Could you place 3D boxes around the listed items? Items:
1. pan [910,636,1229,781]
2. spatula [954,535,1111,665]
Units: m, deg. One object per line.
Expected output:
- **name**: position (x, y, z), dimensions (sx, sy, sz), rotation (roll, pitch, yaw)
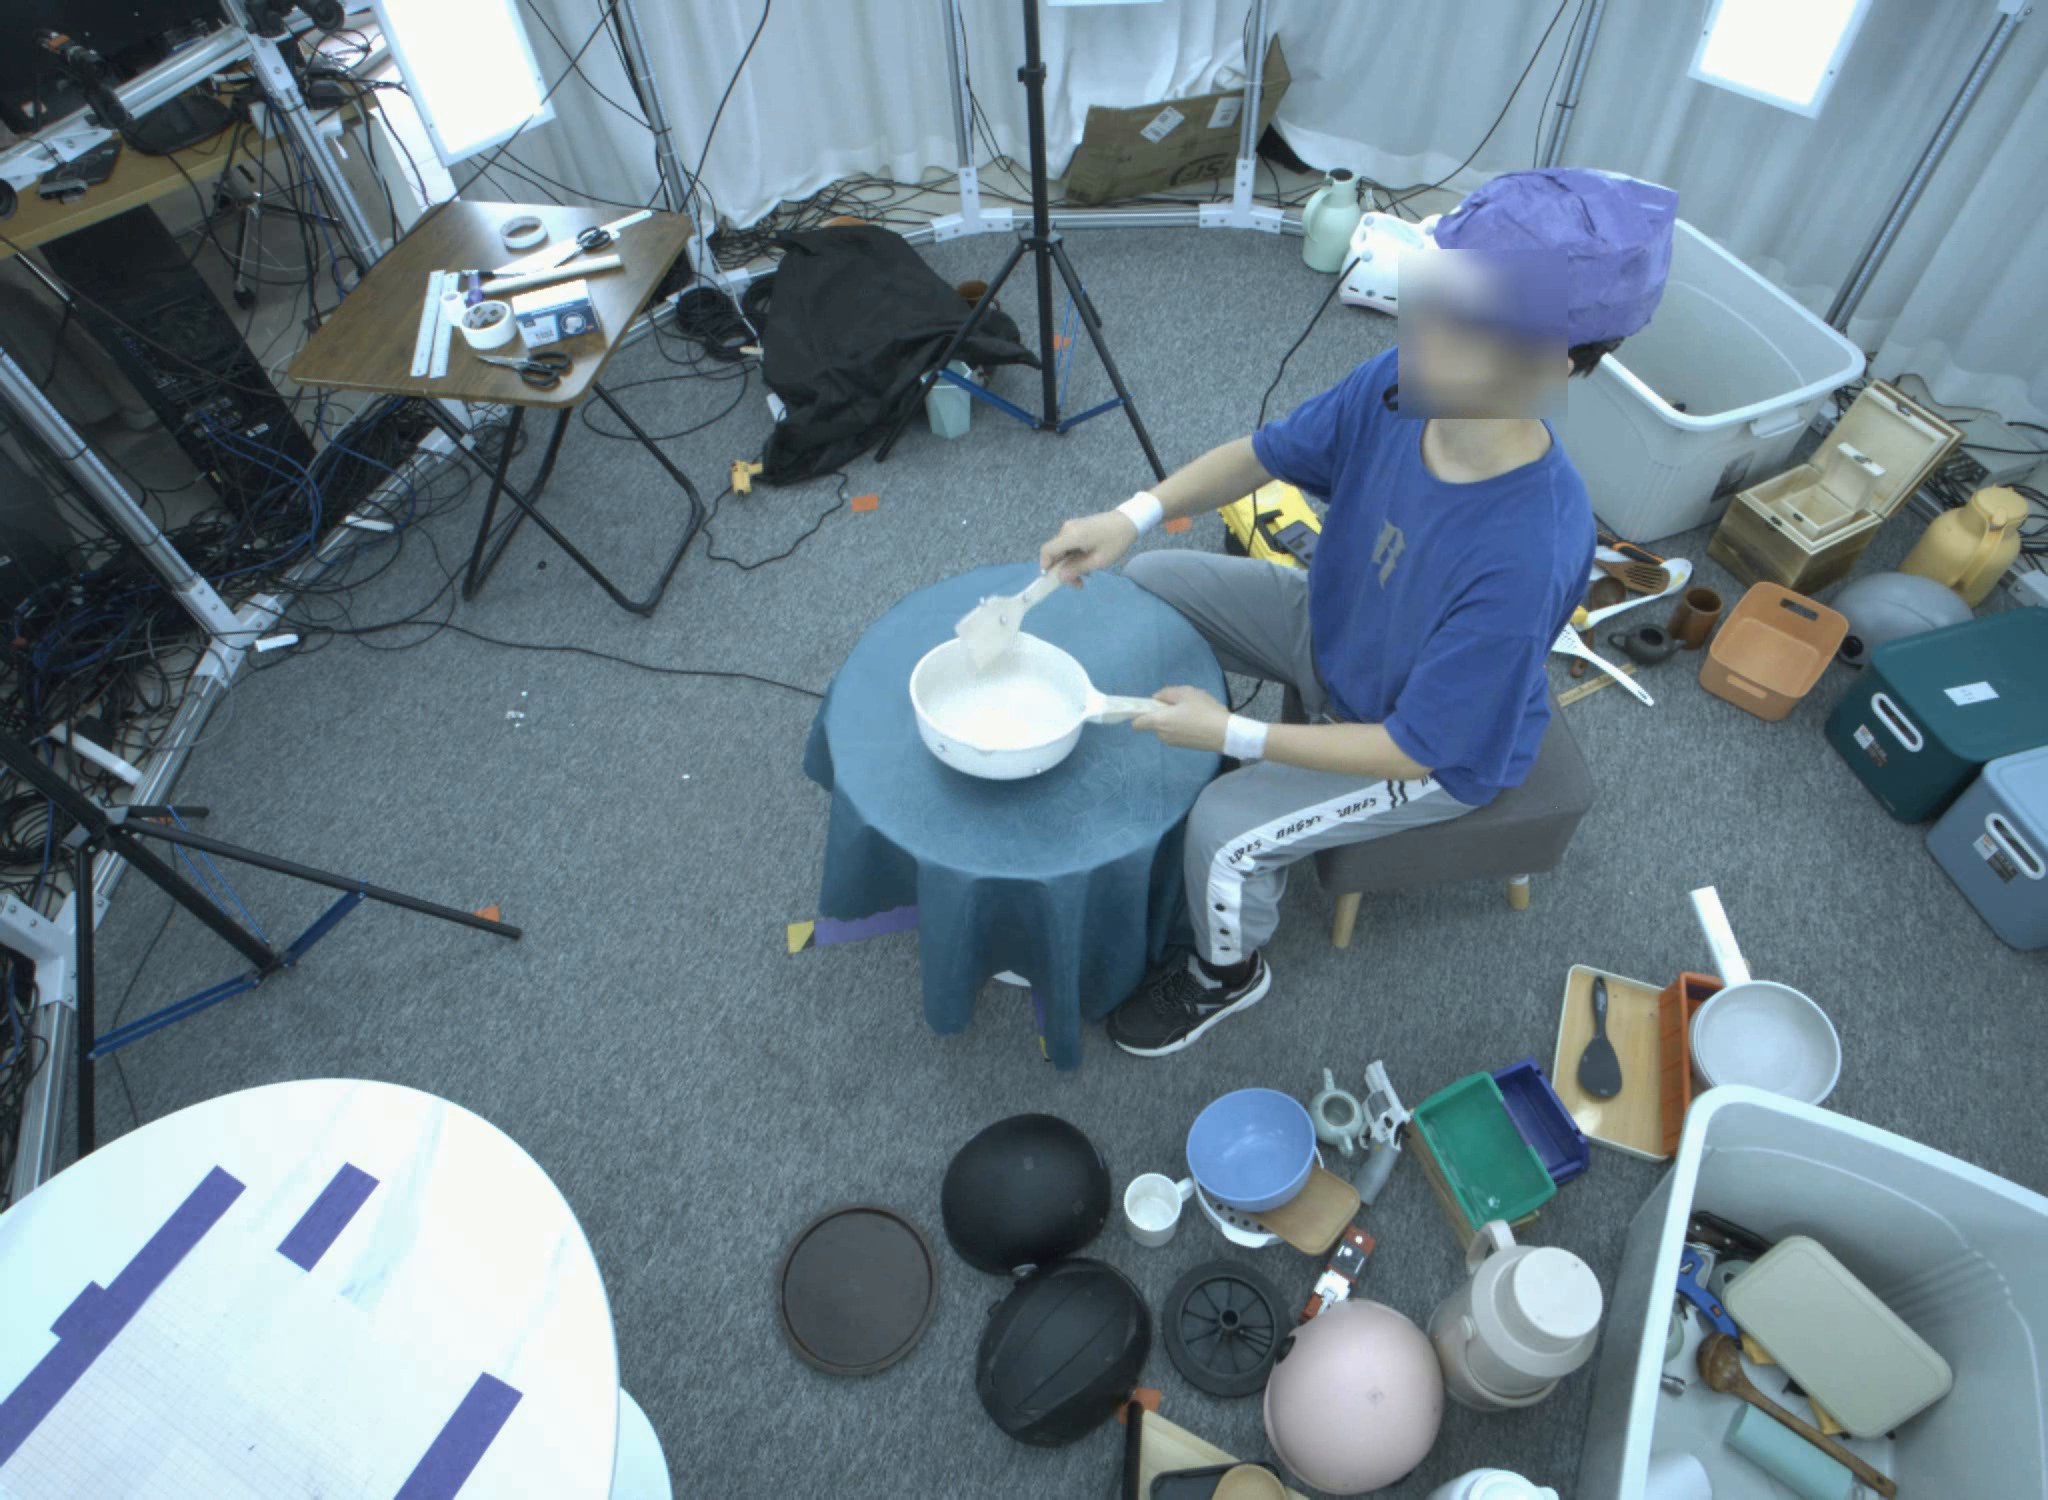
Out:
- **pan**: position (0.058, -0.045, 1.700), dimensions (0.435, 0.103, 0.261), rotation (9, 40, 1)
- **spatula**: position (0.019, -0.221, 1.694), dimensions (0.295, 0.073, 0.010), rotation (-39, 27, -28)
